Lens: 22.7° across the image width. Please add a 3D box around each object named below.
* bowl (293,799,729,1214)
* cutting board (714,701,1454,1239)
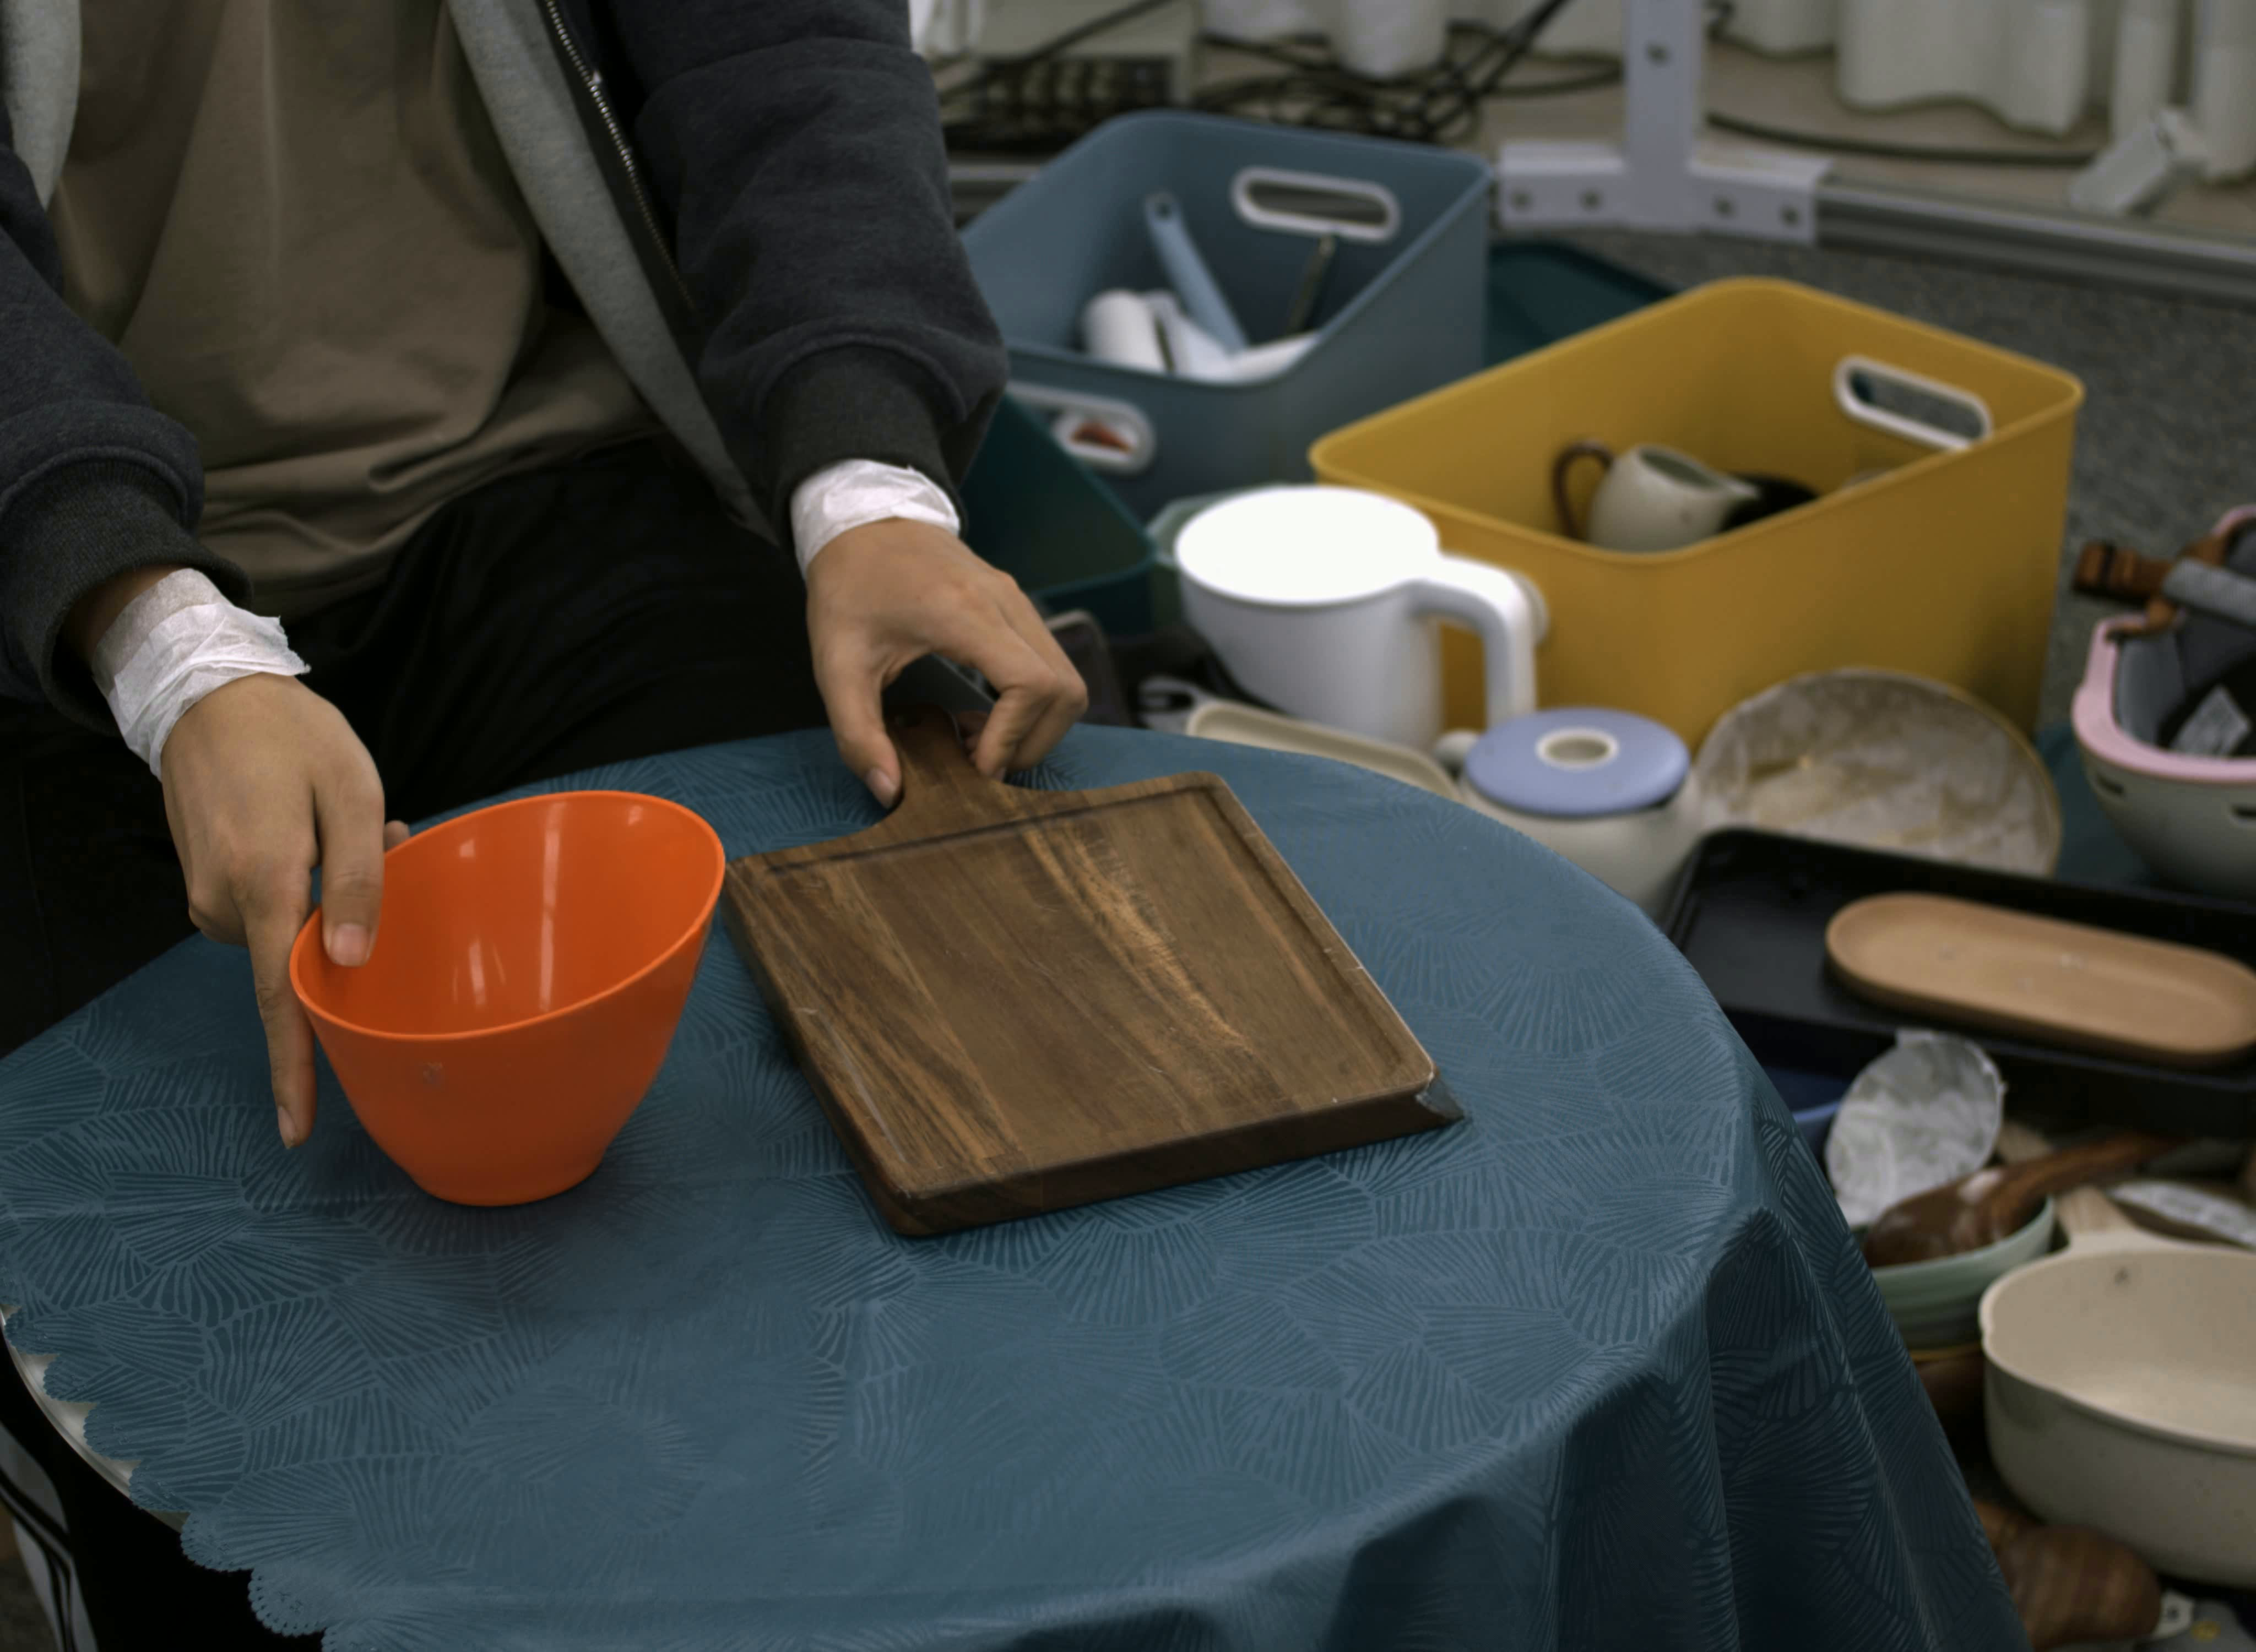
[{"bbox_3d":[-0.201,0.067,1.880,0.147,0.103,0.150,-3,25,2],"label":"bowl"},{"bbox_3d":[-0.036,0.036,2.008,0.201,0.023,0.355,-11,28,-15],"label":"cutting board"}]
